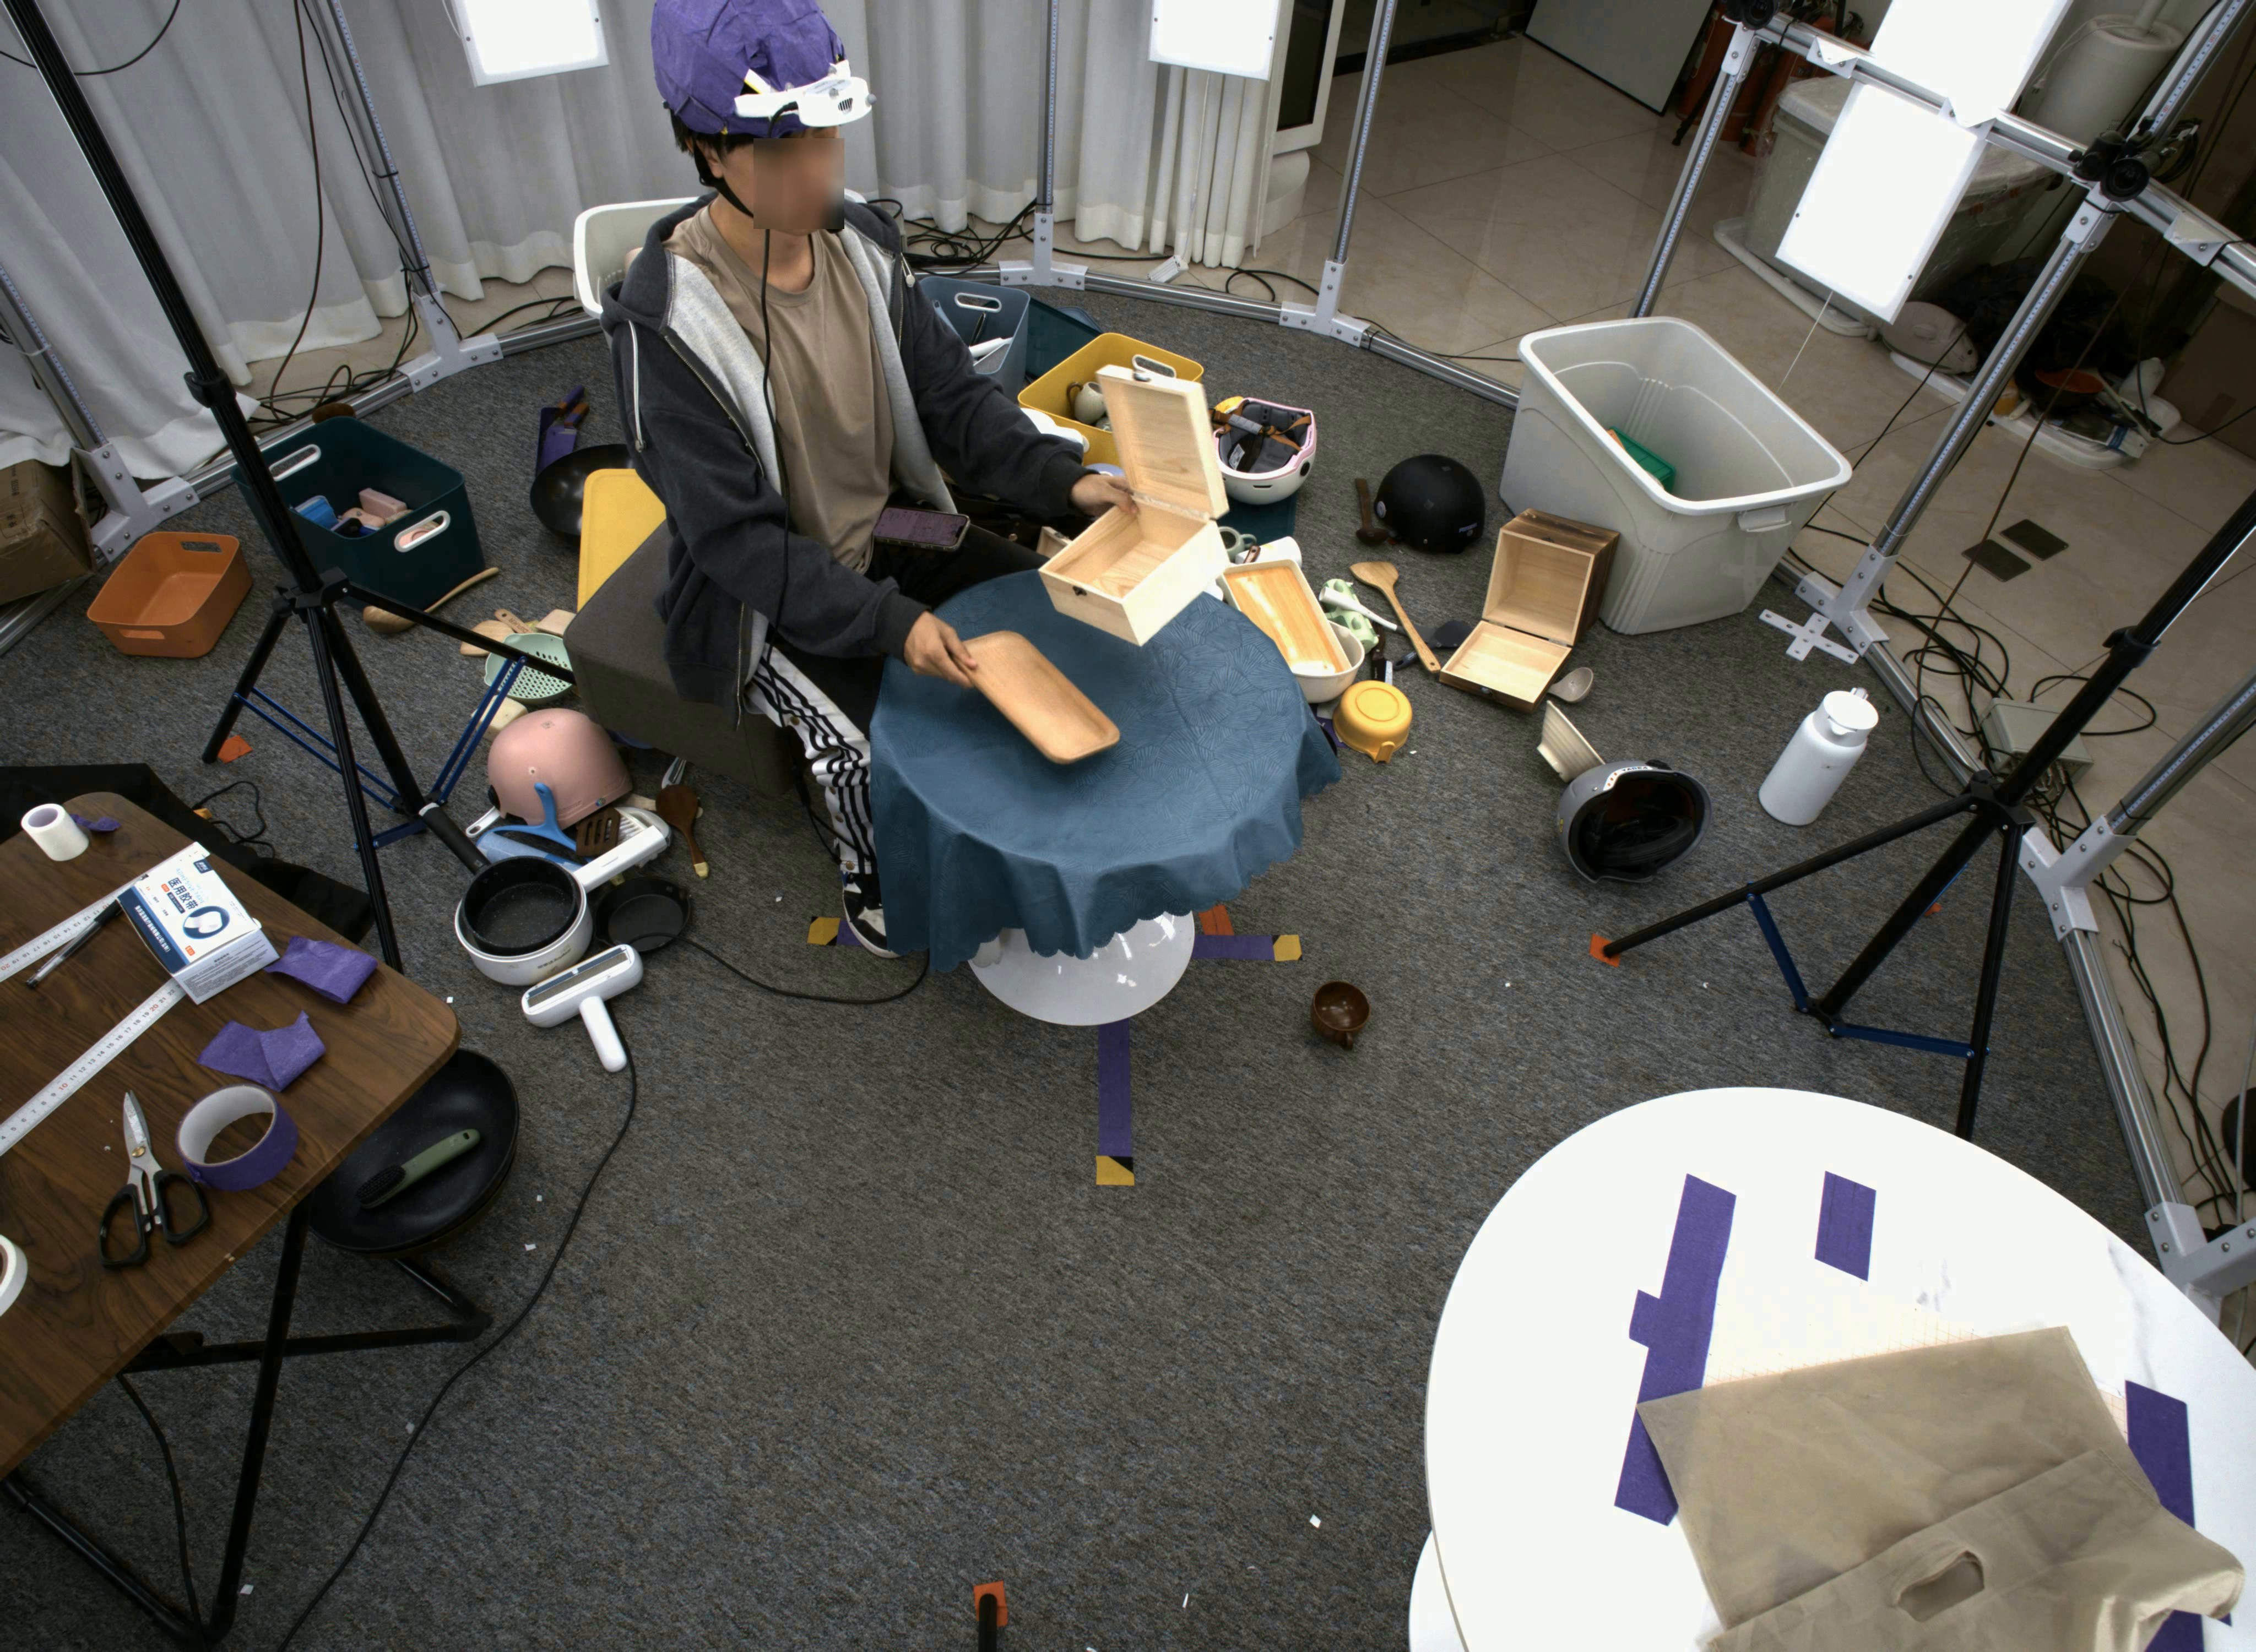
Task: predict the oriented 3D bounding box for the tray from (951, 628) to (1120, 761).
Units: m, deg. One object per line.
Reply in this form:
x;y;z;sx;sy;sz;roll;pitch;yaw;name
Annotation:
-0.127;-0.181;1.740;0.131;0.022;0.255;-20;55;-42;tray

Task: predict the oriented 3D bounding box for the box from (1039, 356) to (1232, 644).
0.001;-0.432;1.704;0.267;0.247;0.184;-44;41;-18;box
